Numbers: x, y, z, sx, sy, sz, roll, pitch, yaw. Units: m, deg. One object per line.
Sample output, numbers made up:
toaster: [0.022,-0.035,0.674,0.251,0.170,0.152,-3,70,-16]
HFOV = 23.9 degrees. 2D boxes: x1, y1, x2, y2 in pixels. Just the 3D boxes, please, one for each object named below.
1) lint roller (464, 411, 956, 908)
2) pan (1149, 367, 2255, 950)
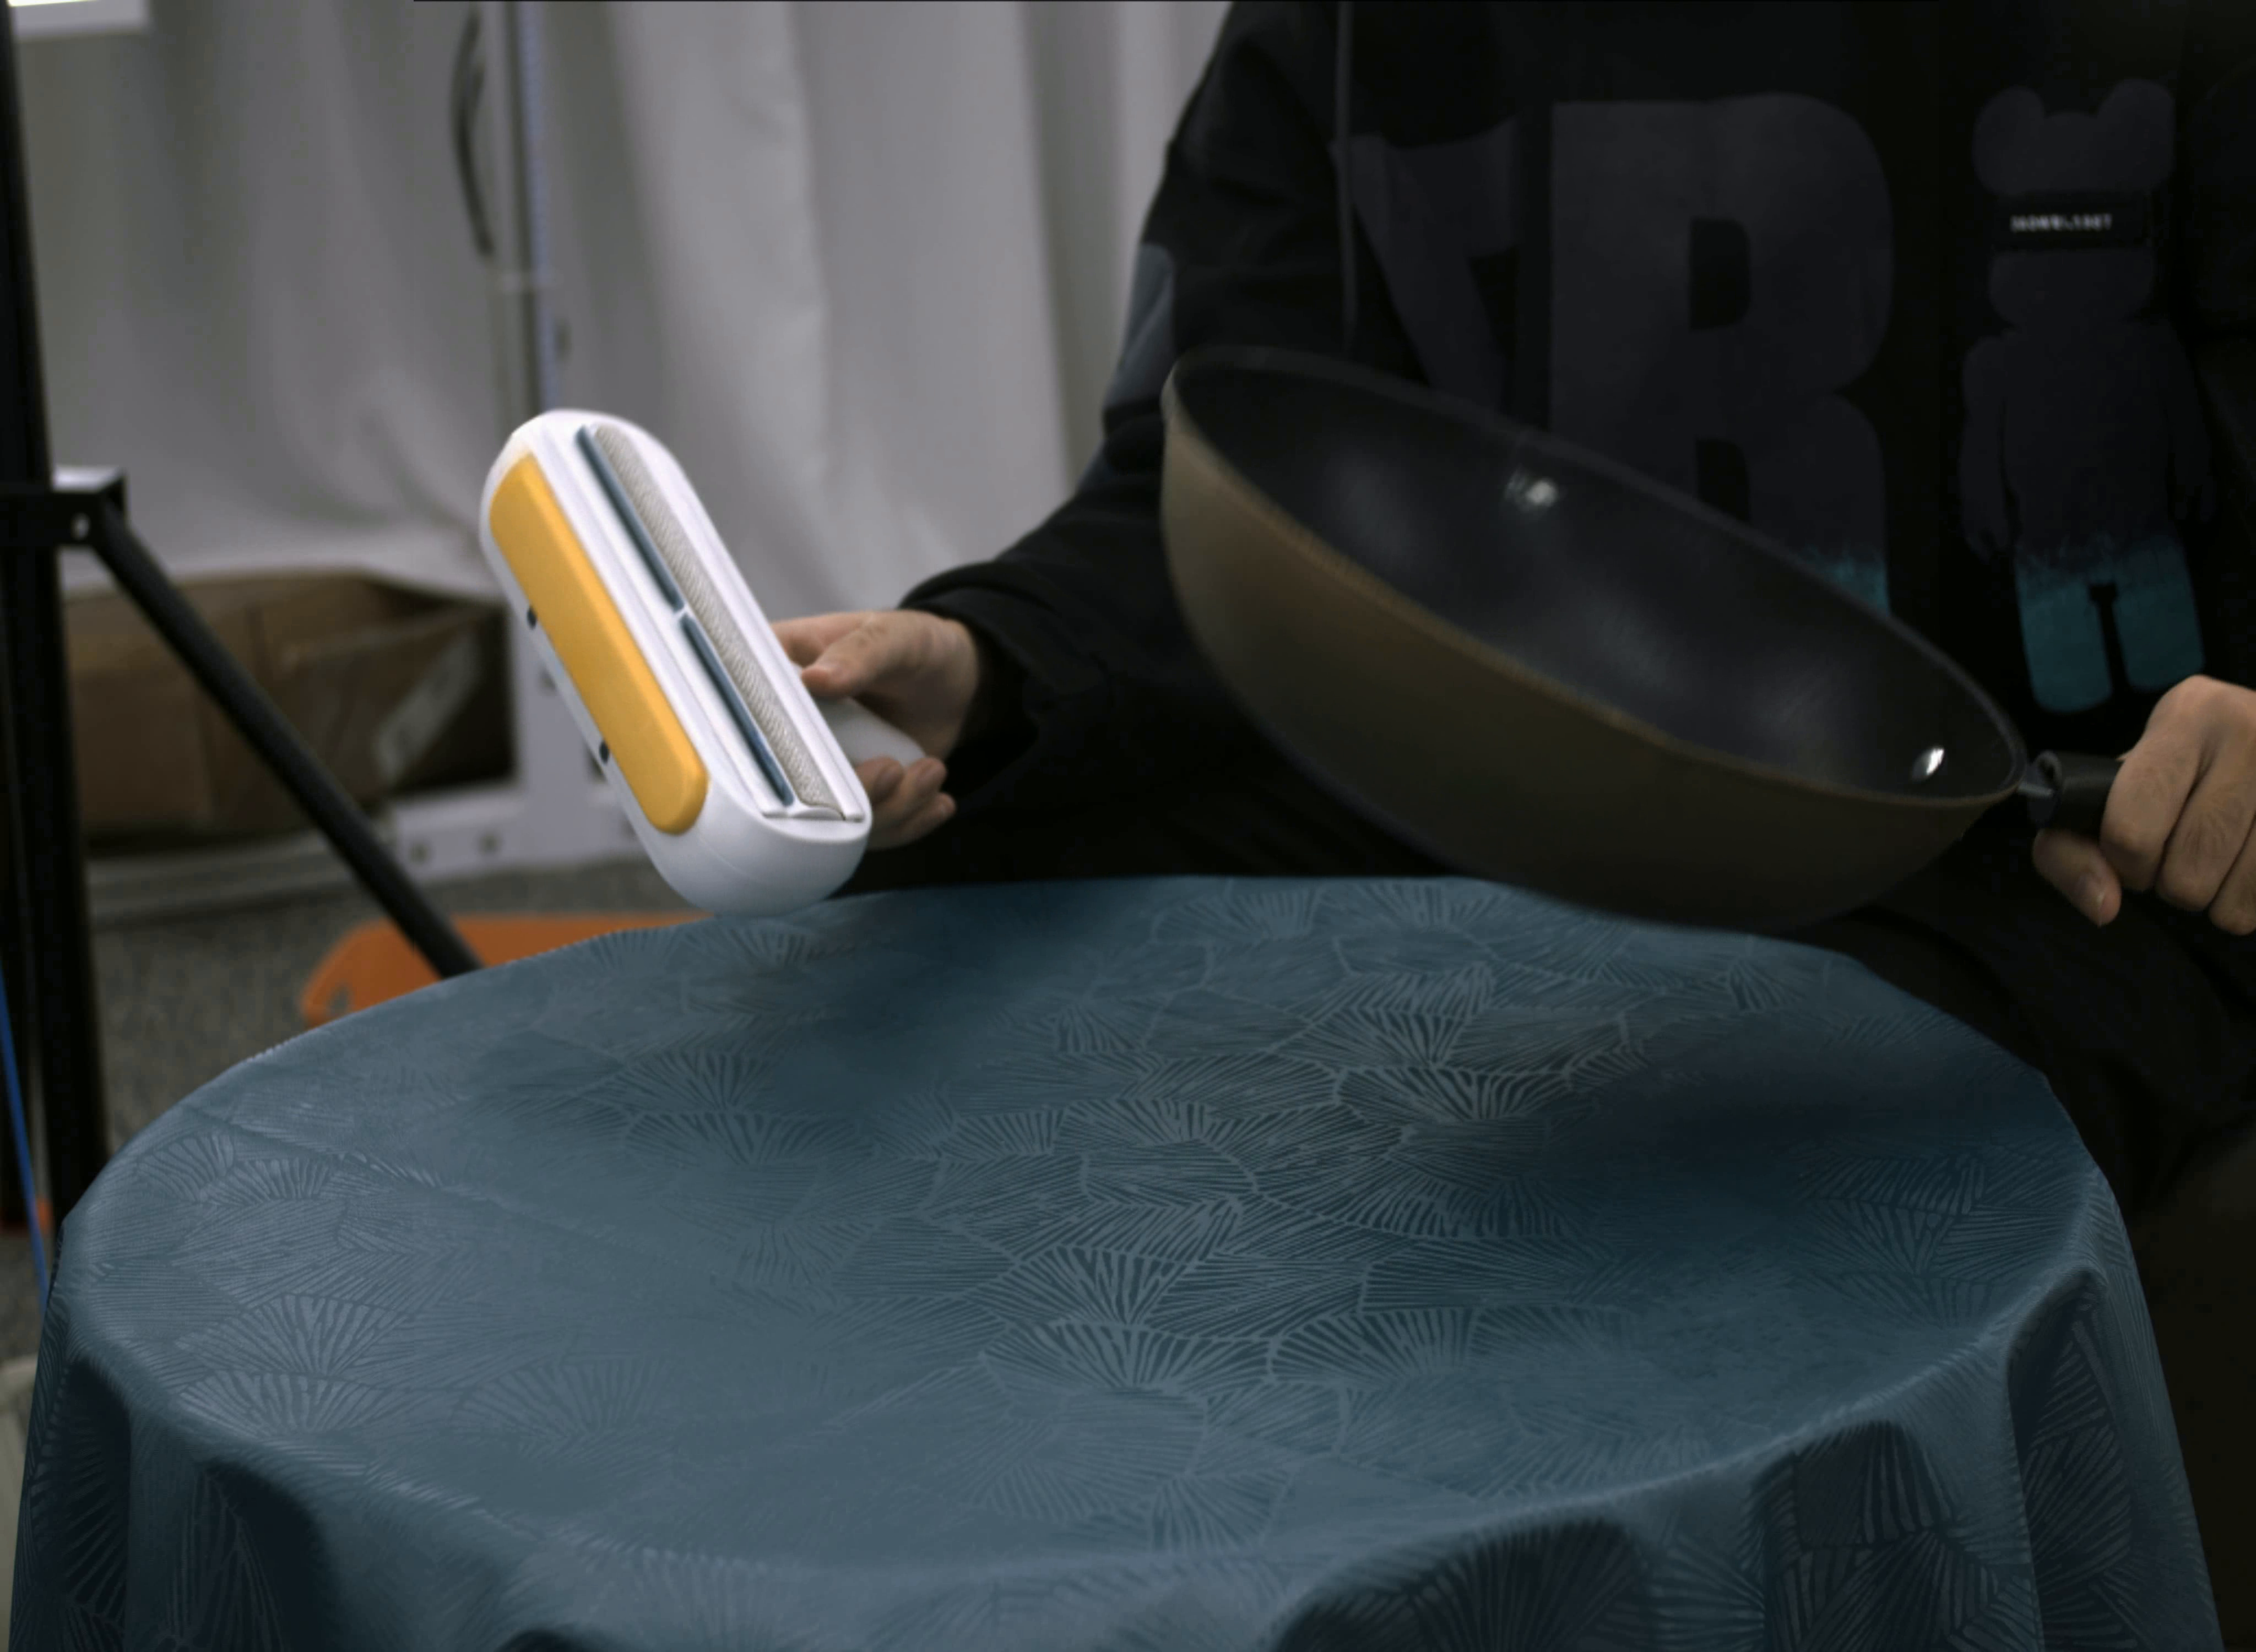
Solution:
lint roller: [-0.117,-0.040,1.745,0.187,0.074,0.197,15,32,-47]
pan: [0.204,-0.007,1.587,0.458,0.087,0.290,20,17,-10]
